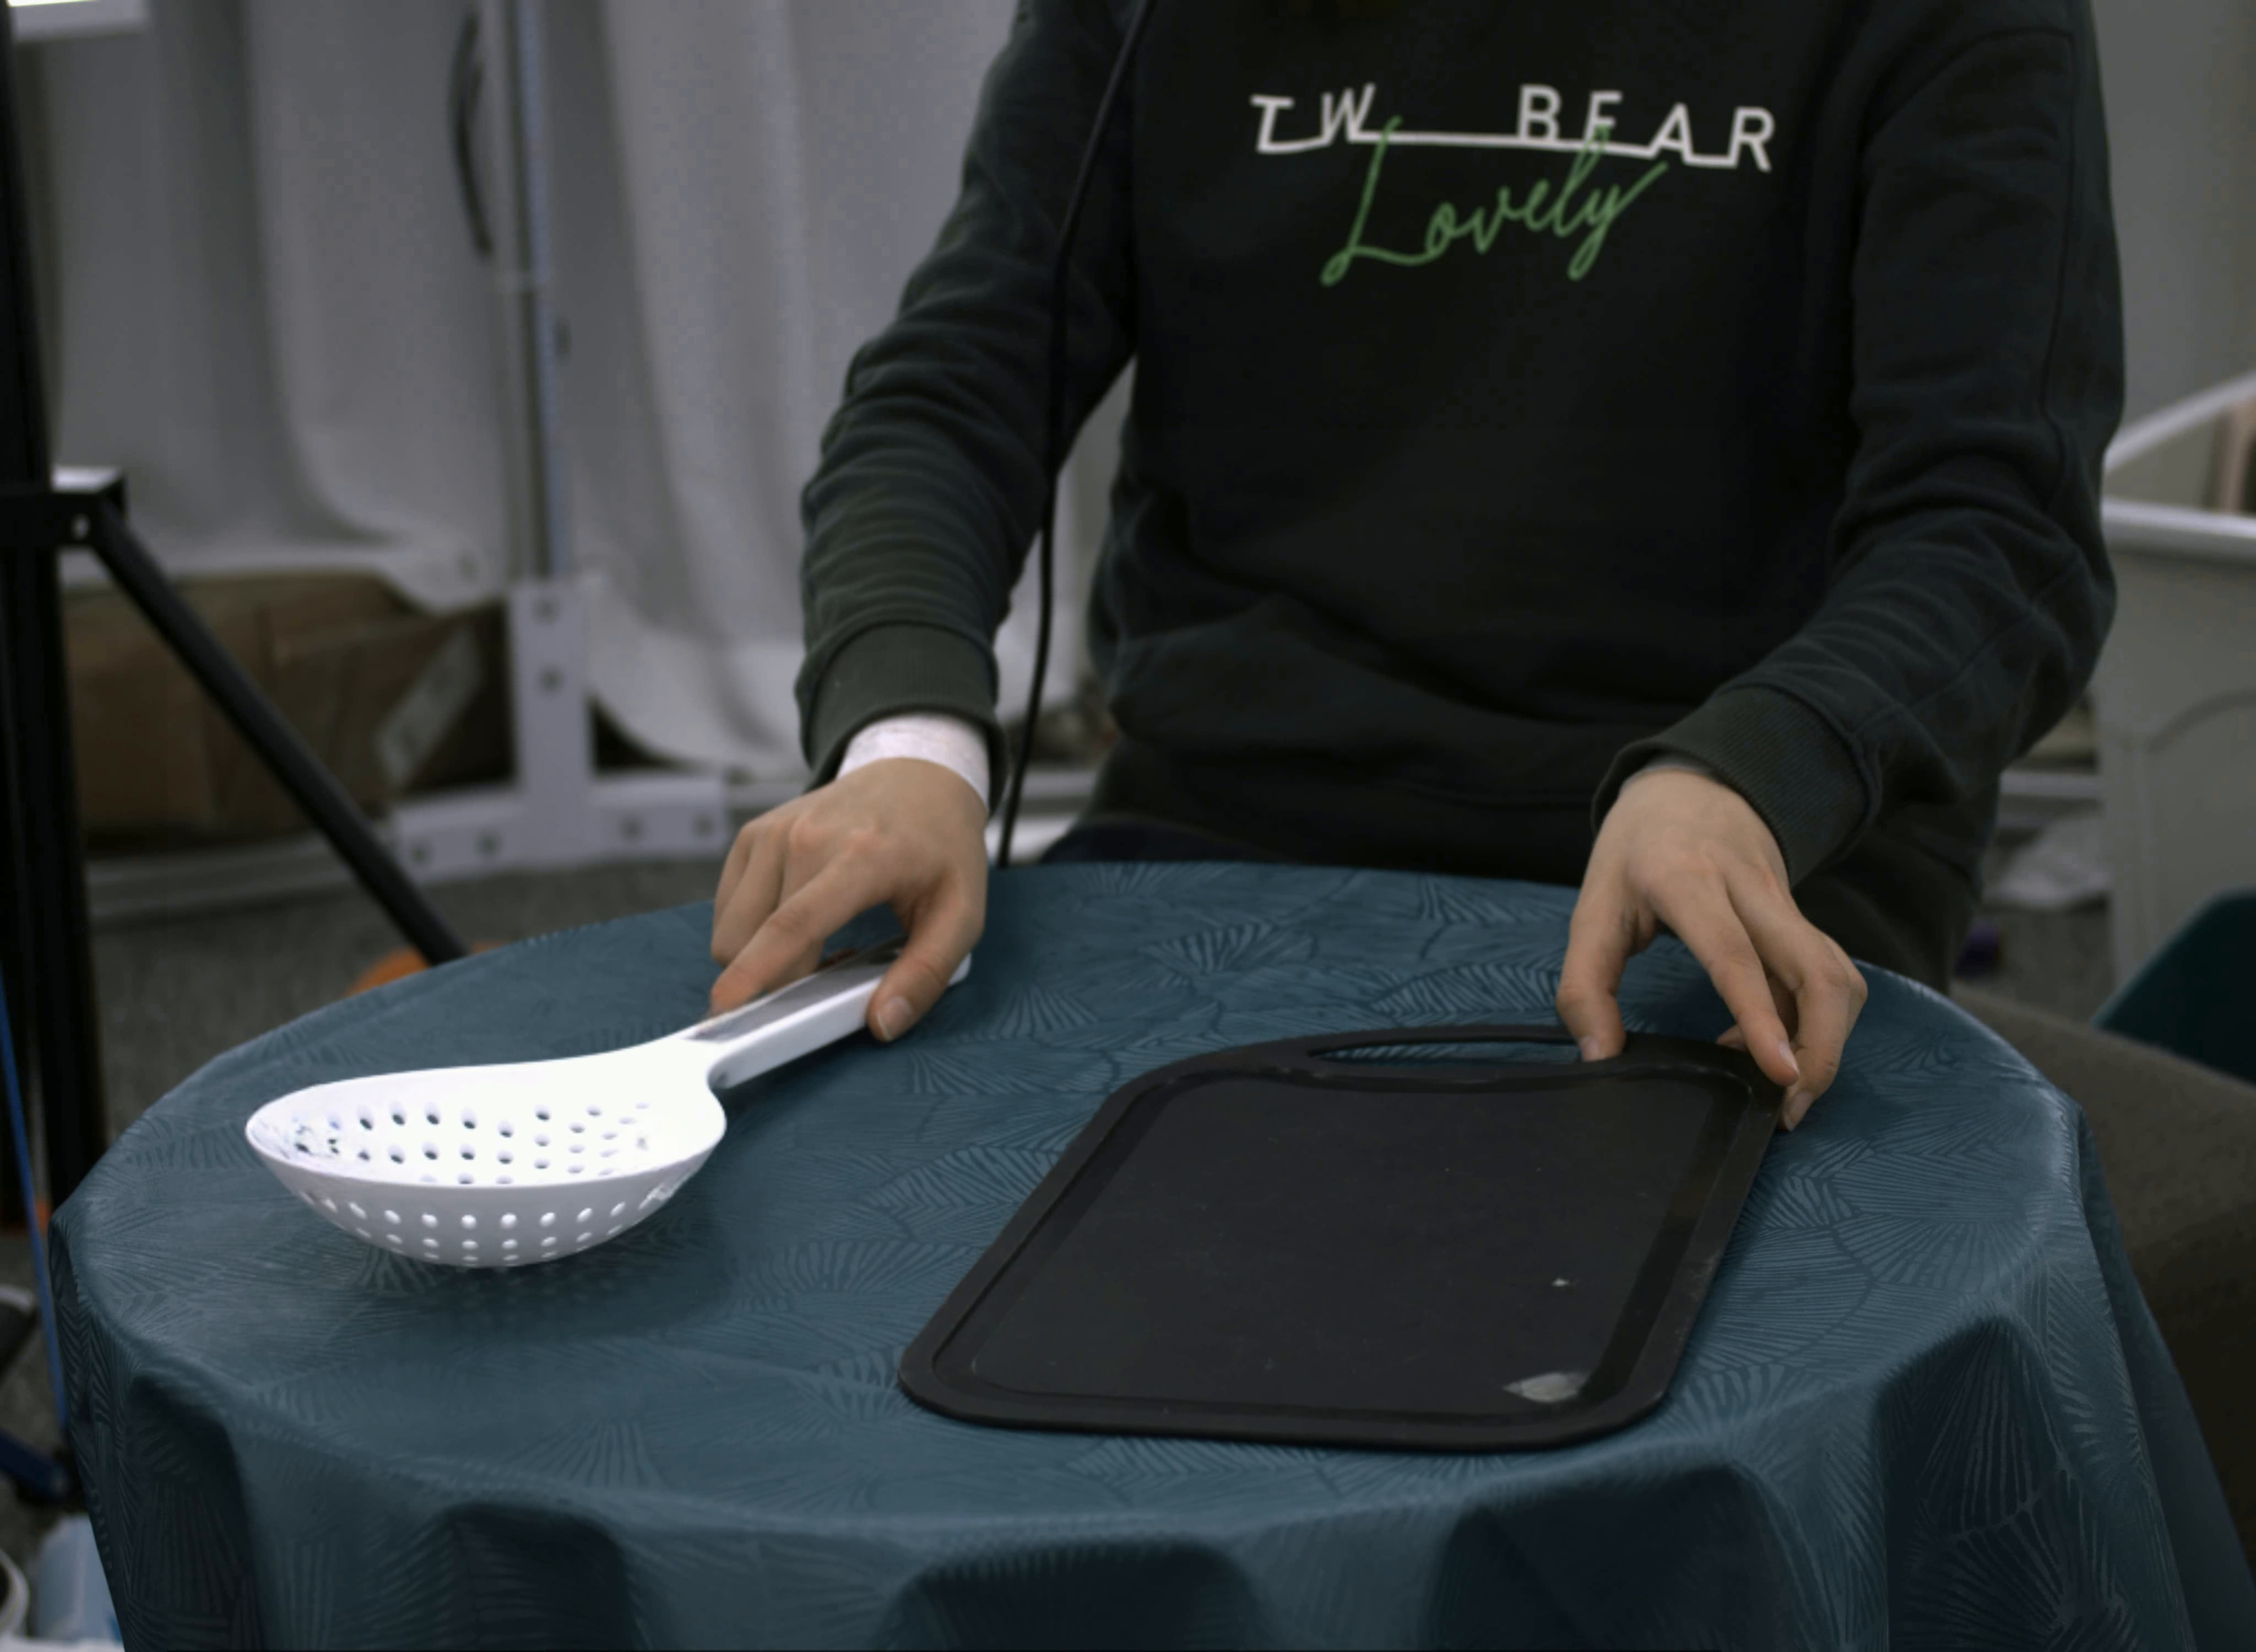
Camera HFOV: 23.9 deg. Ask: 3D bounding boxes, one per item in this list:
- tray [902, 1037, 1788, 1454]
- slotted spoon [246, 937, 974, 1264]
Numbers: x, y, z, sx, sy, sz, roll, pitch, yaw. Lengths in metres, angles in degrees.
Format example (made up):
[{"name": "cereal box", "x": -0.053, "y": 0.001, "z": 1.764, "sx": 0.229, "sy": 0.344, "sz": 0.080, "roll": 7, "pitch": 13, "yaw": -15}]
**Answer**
[{"name": "tray", "x": 0.070, "y": 0.111, "z": 1.512, "sx": 0.213, "sy": 0.010, "sz": 0.323, "roll": 1, "pitch": 17, "yaw": 16}, {"name": "slotted spoon", "x": -0.137, "y": 0.074, "z": 1.619, "sx": 0.138, "sy": 0.046, "sz": 0.344, "roll": 7, "pitch": 18, "yaw": 25}]
